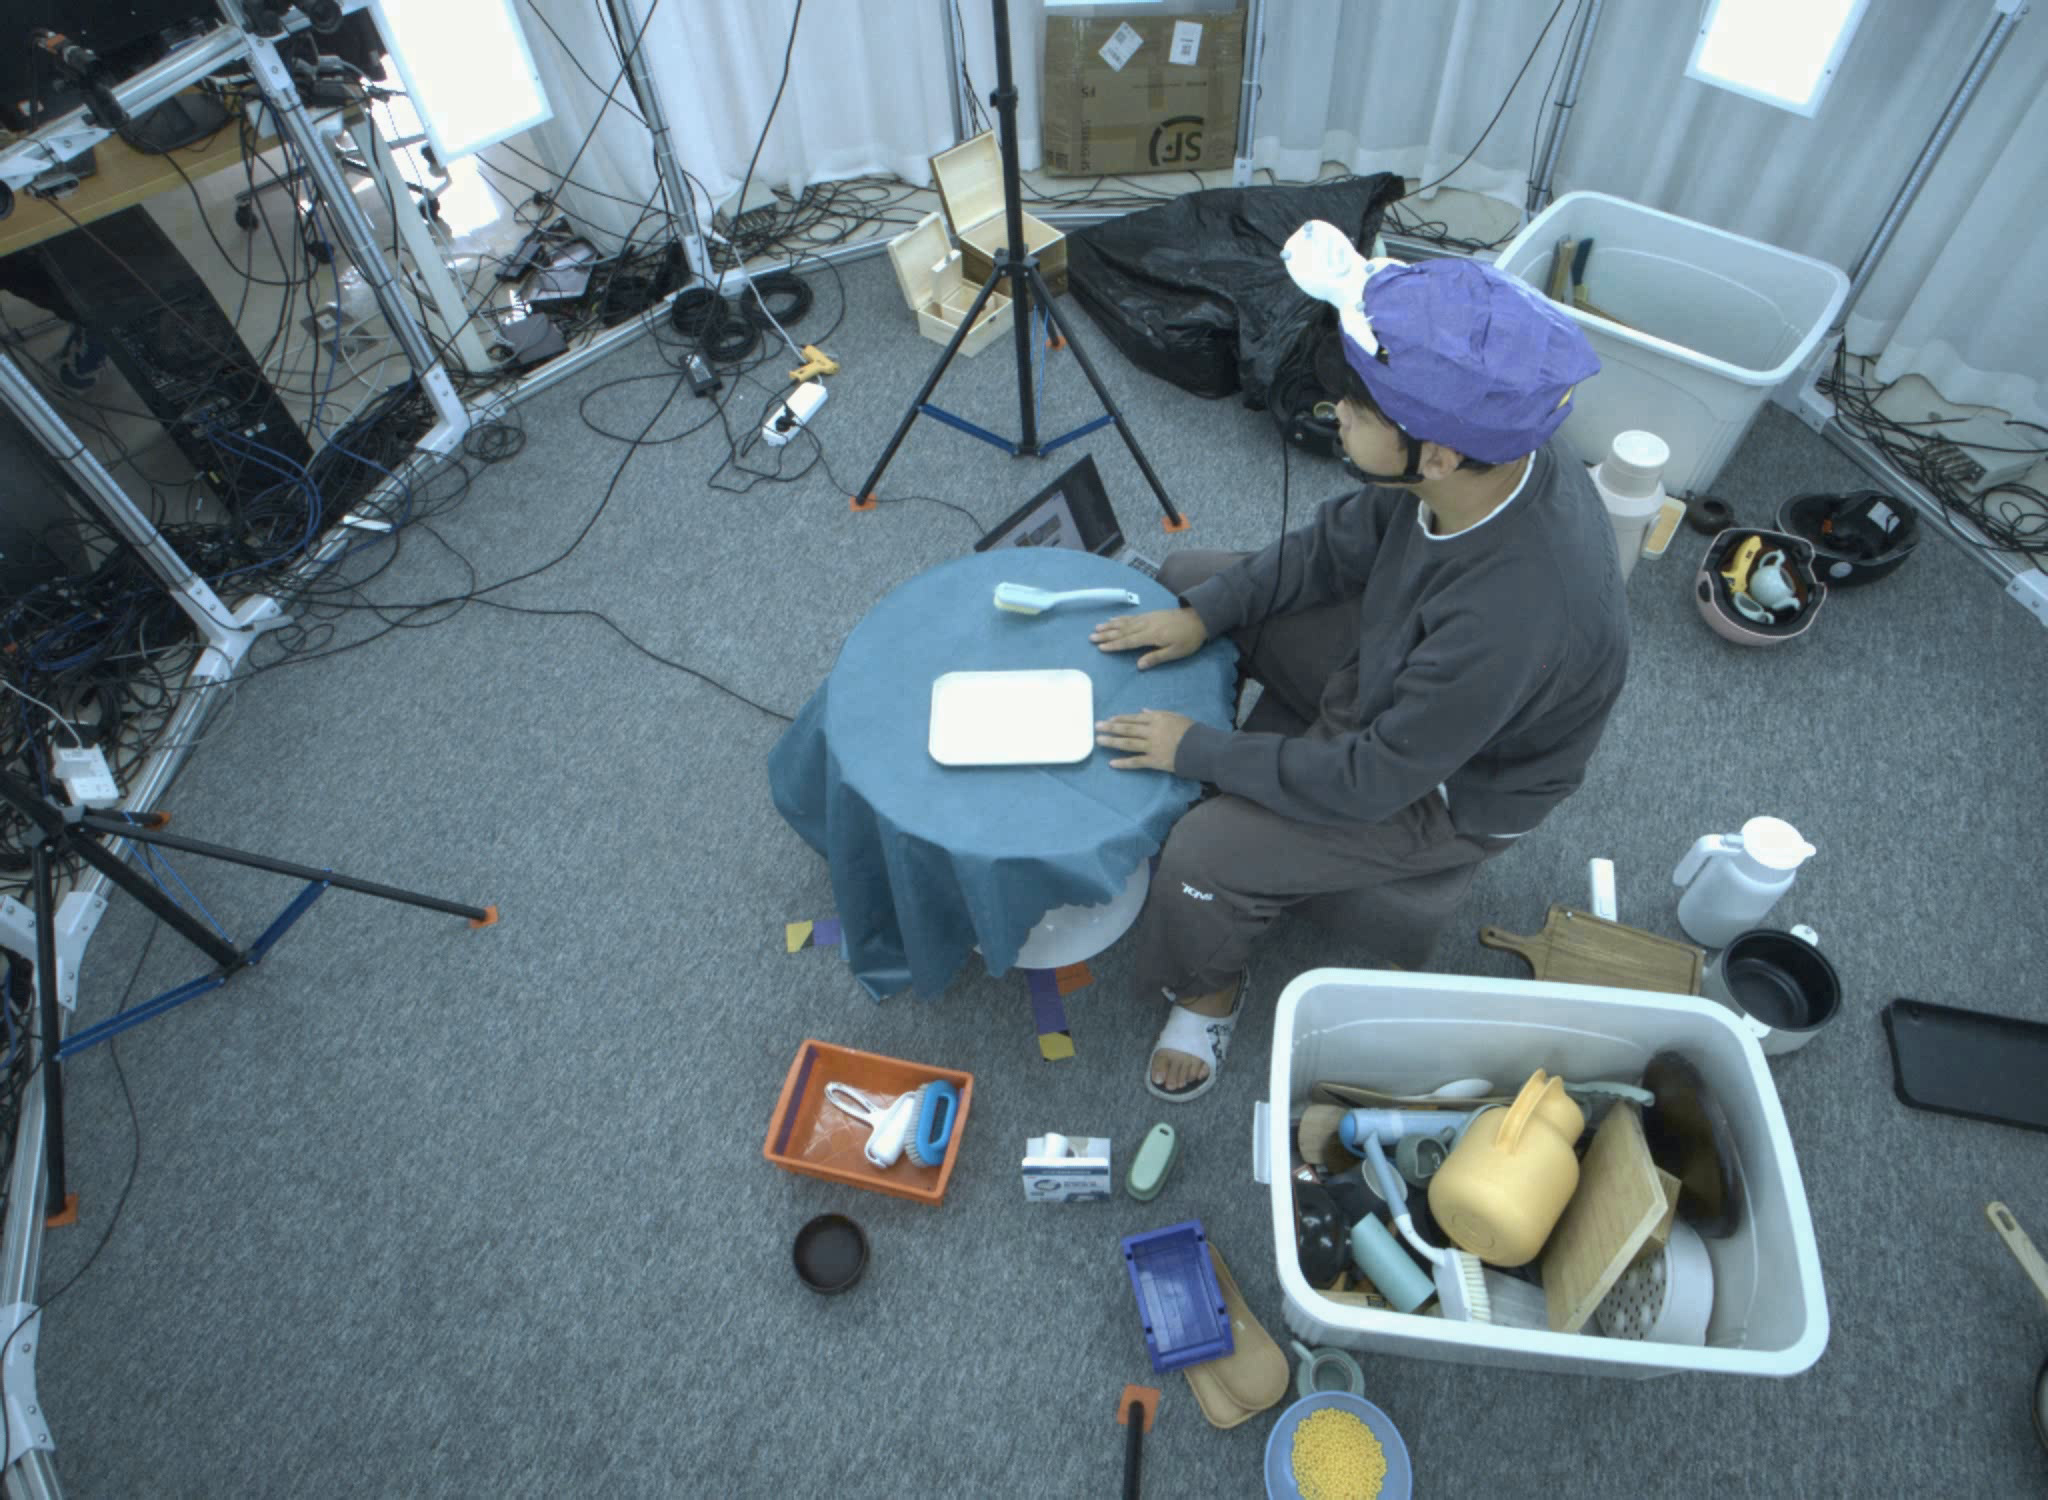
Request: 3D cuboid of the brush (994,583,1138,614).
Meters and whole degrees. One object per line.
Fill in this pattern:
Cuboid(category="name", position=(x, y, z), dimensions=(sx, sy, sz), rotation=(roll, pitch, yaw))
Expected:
Cuboid(category="brush", position=(0.067, -0.238, 1.935), dimensions=(0.230, 0.050, 0.037), rotation=(-2, 61, -10))

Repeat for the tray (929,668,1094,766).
Cuboid(category="tray", position=(-0.019, -0.048, 1.811), dimensions=(0.239, 0.017, 0.169), rotation=(-1, 55, 1))
